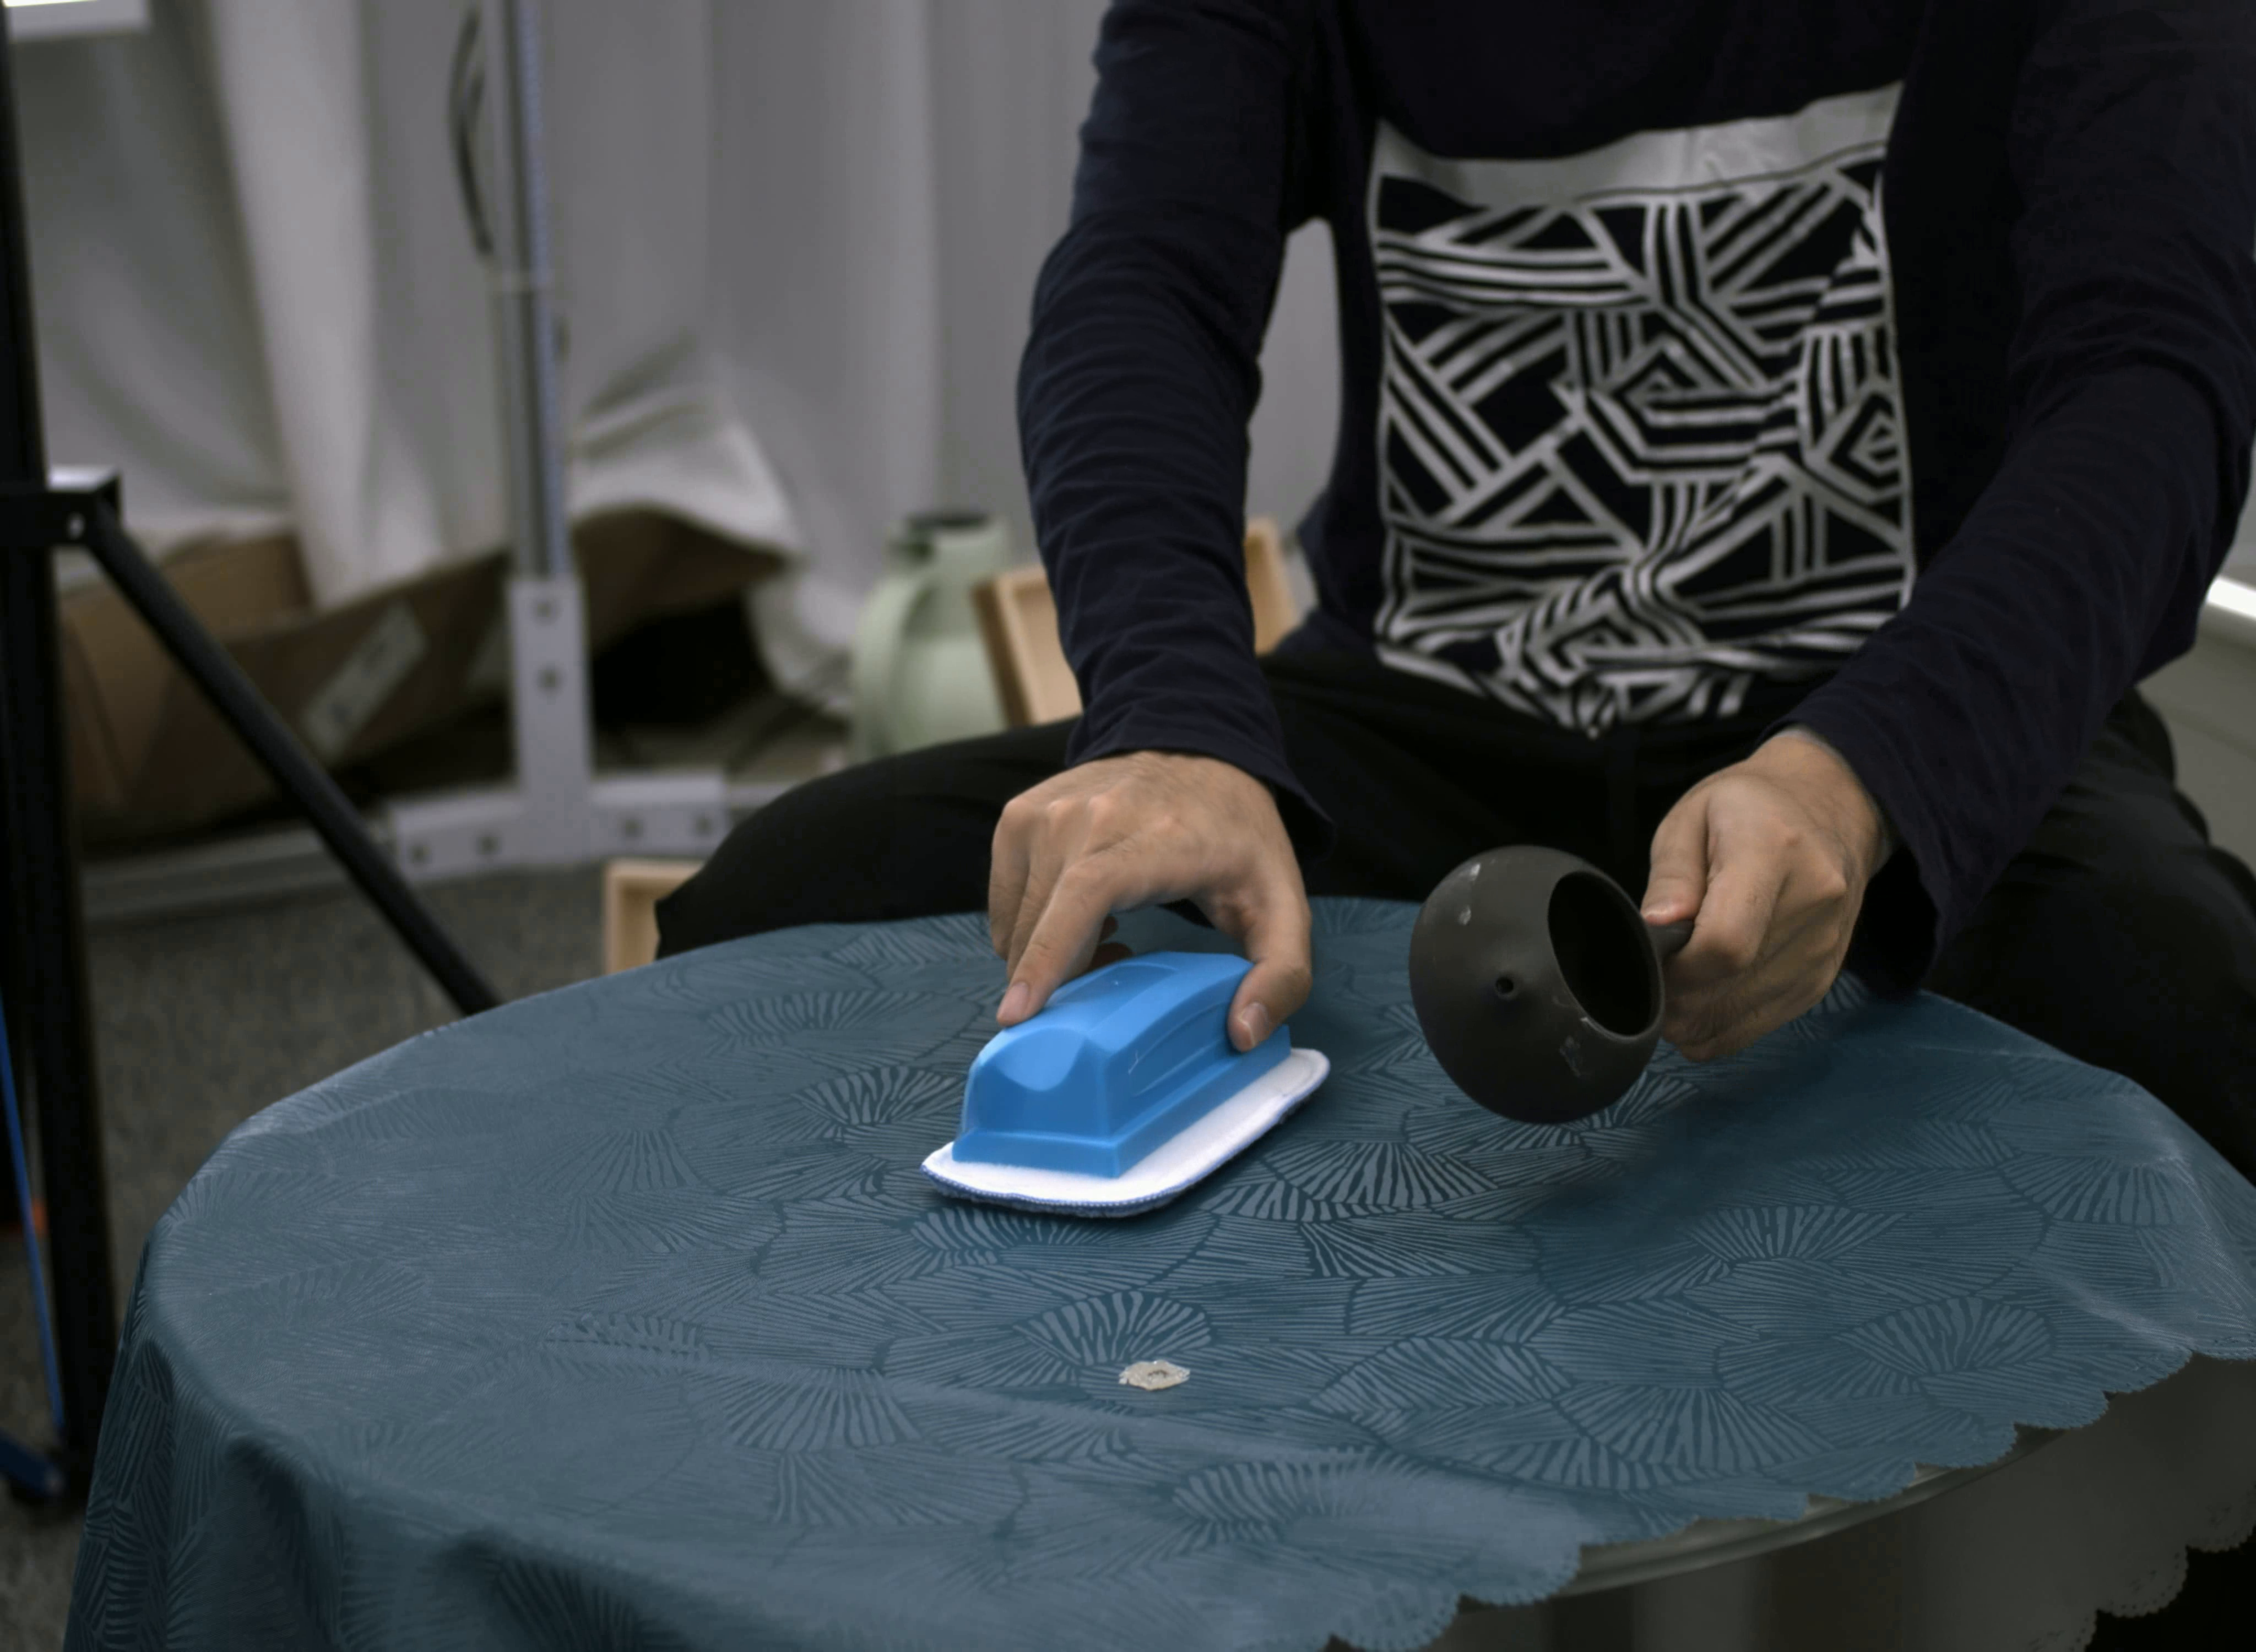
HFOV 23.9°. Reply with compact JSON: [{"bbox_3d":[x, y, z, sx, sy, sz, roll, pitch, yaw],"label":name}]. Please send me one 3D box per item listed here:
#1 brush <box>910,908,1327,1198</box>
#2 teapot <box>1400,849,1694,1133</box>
[{"bbox_3d":[-0.001,0.064,1.602,0.085,0.056,0.141,9,22,28],"label":"brush"},{"bbox_3d":[0.125,0.046,1.544,0.111,0.084,0.054,-7,-14,-46],"label":"teapot"}]
